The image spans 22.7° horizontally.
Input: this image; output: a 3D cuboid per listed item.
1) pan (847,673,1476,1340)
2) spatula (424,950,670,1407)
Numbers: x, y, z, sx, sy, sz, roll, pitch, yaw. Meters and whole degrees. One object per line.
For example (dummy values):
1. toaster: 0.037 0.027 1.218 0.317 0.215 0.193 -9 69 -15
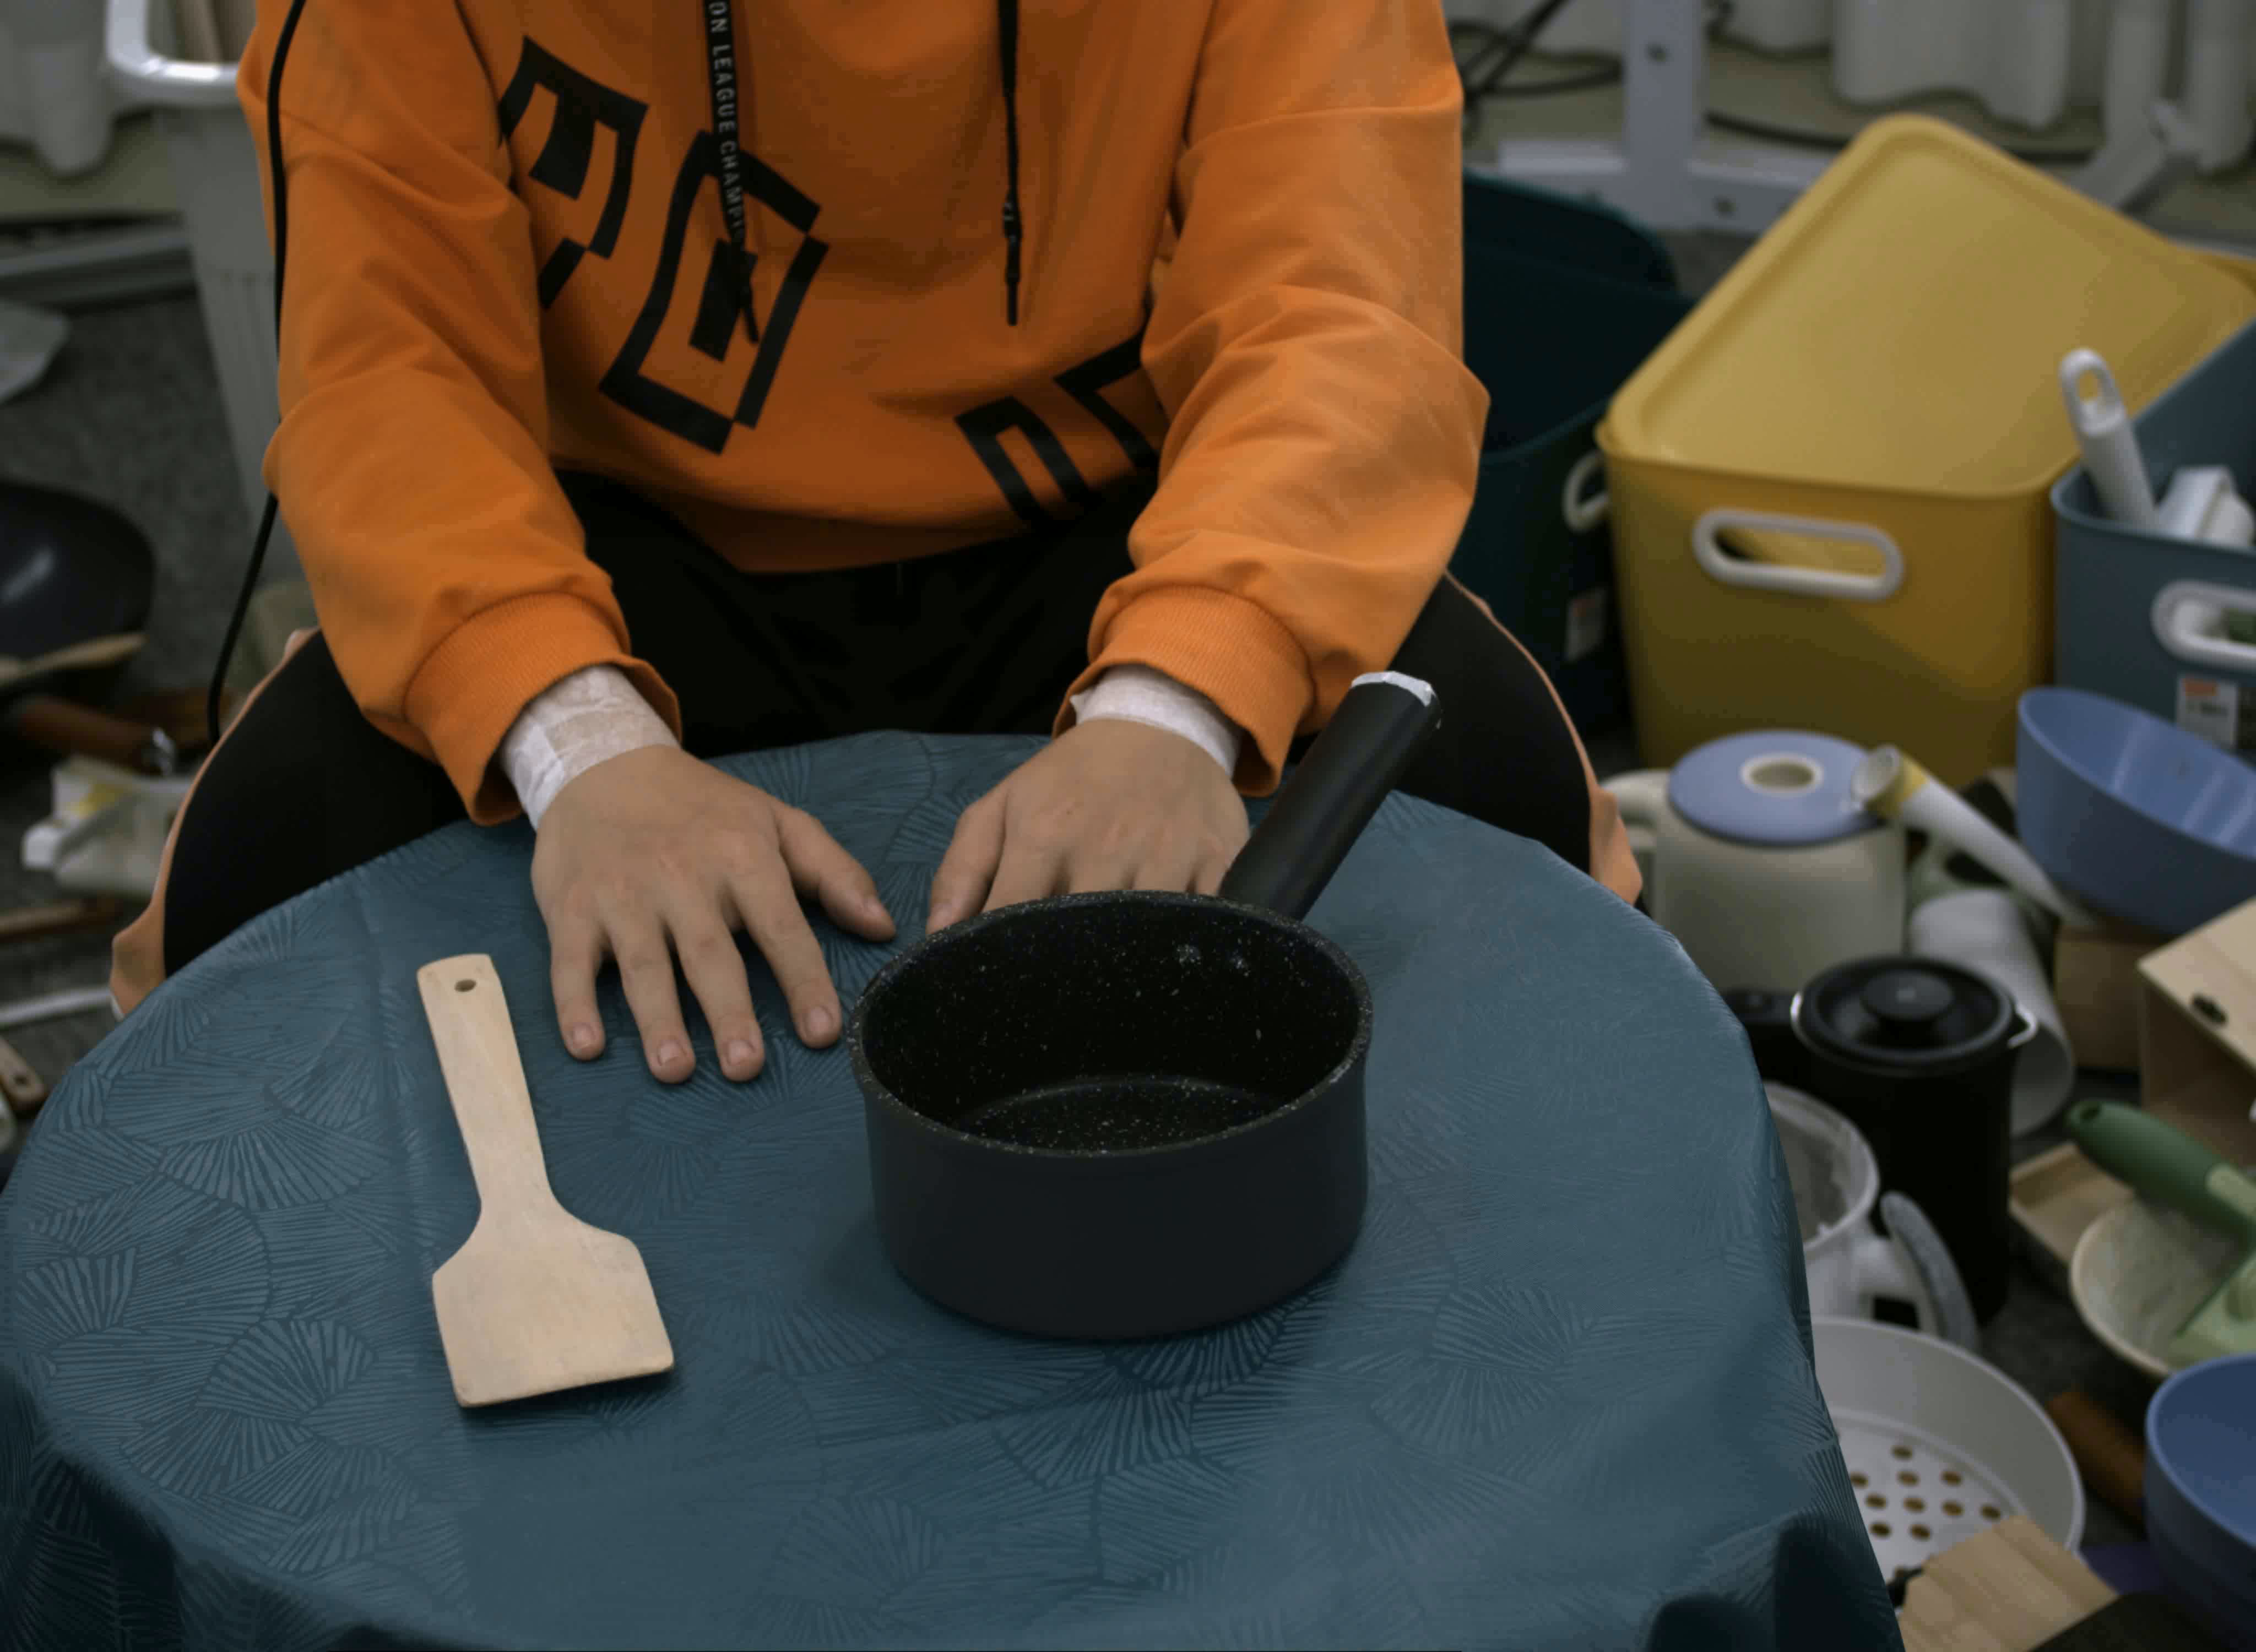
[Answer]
1. pan: 0.033 0.057 1.894 0.171 0.085 0.334 12 32 25
2. spatula: -0.209 0.114 1.889 0.072 0.010 0.296 -11 28 -8
